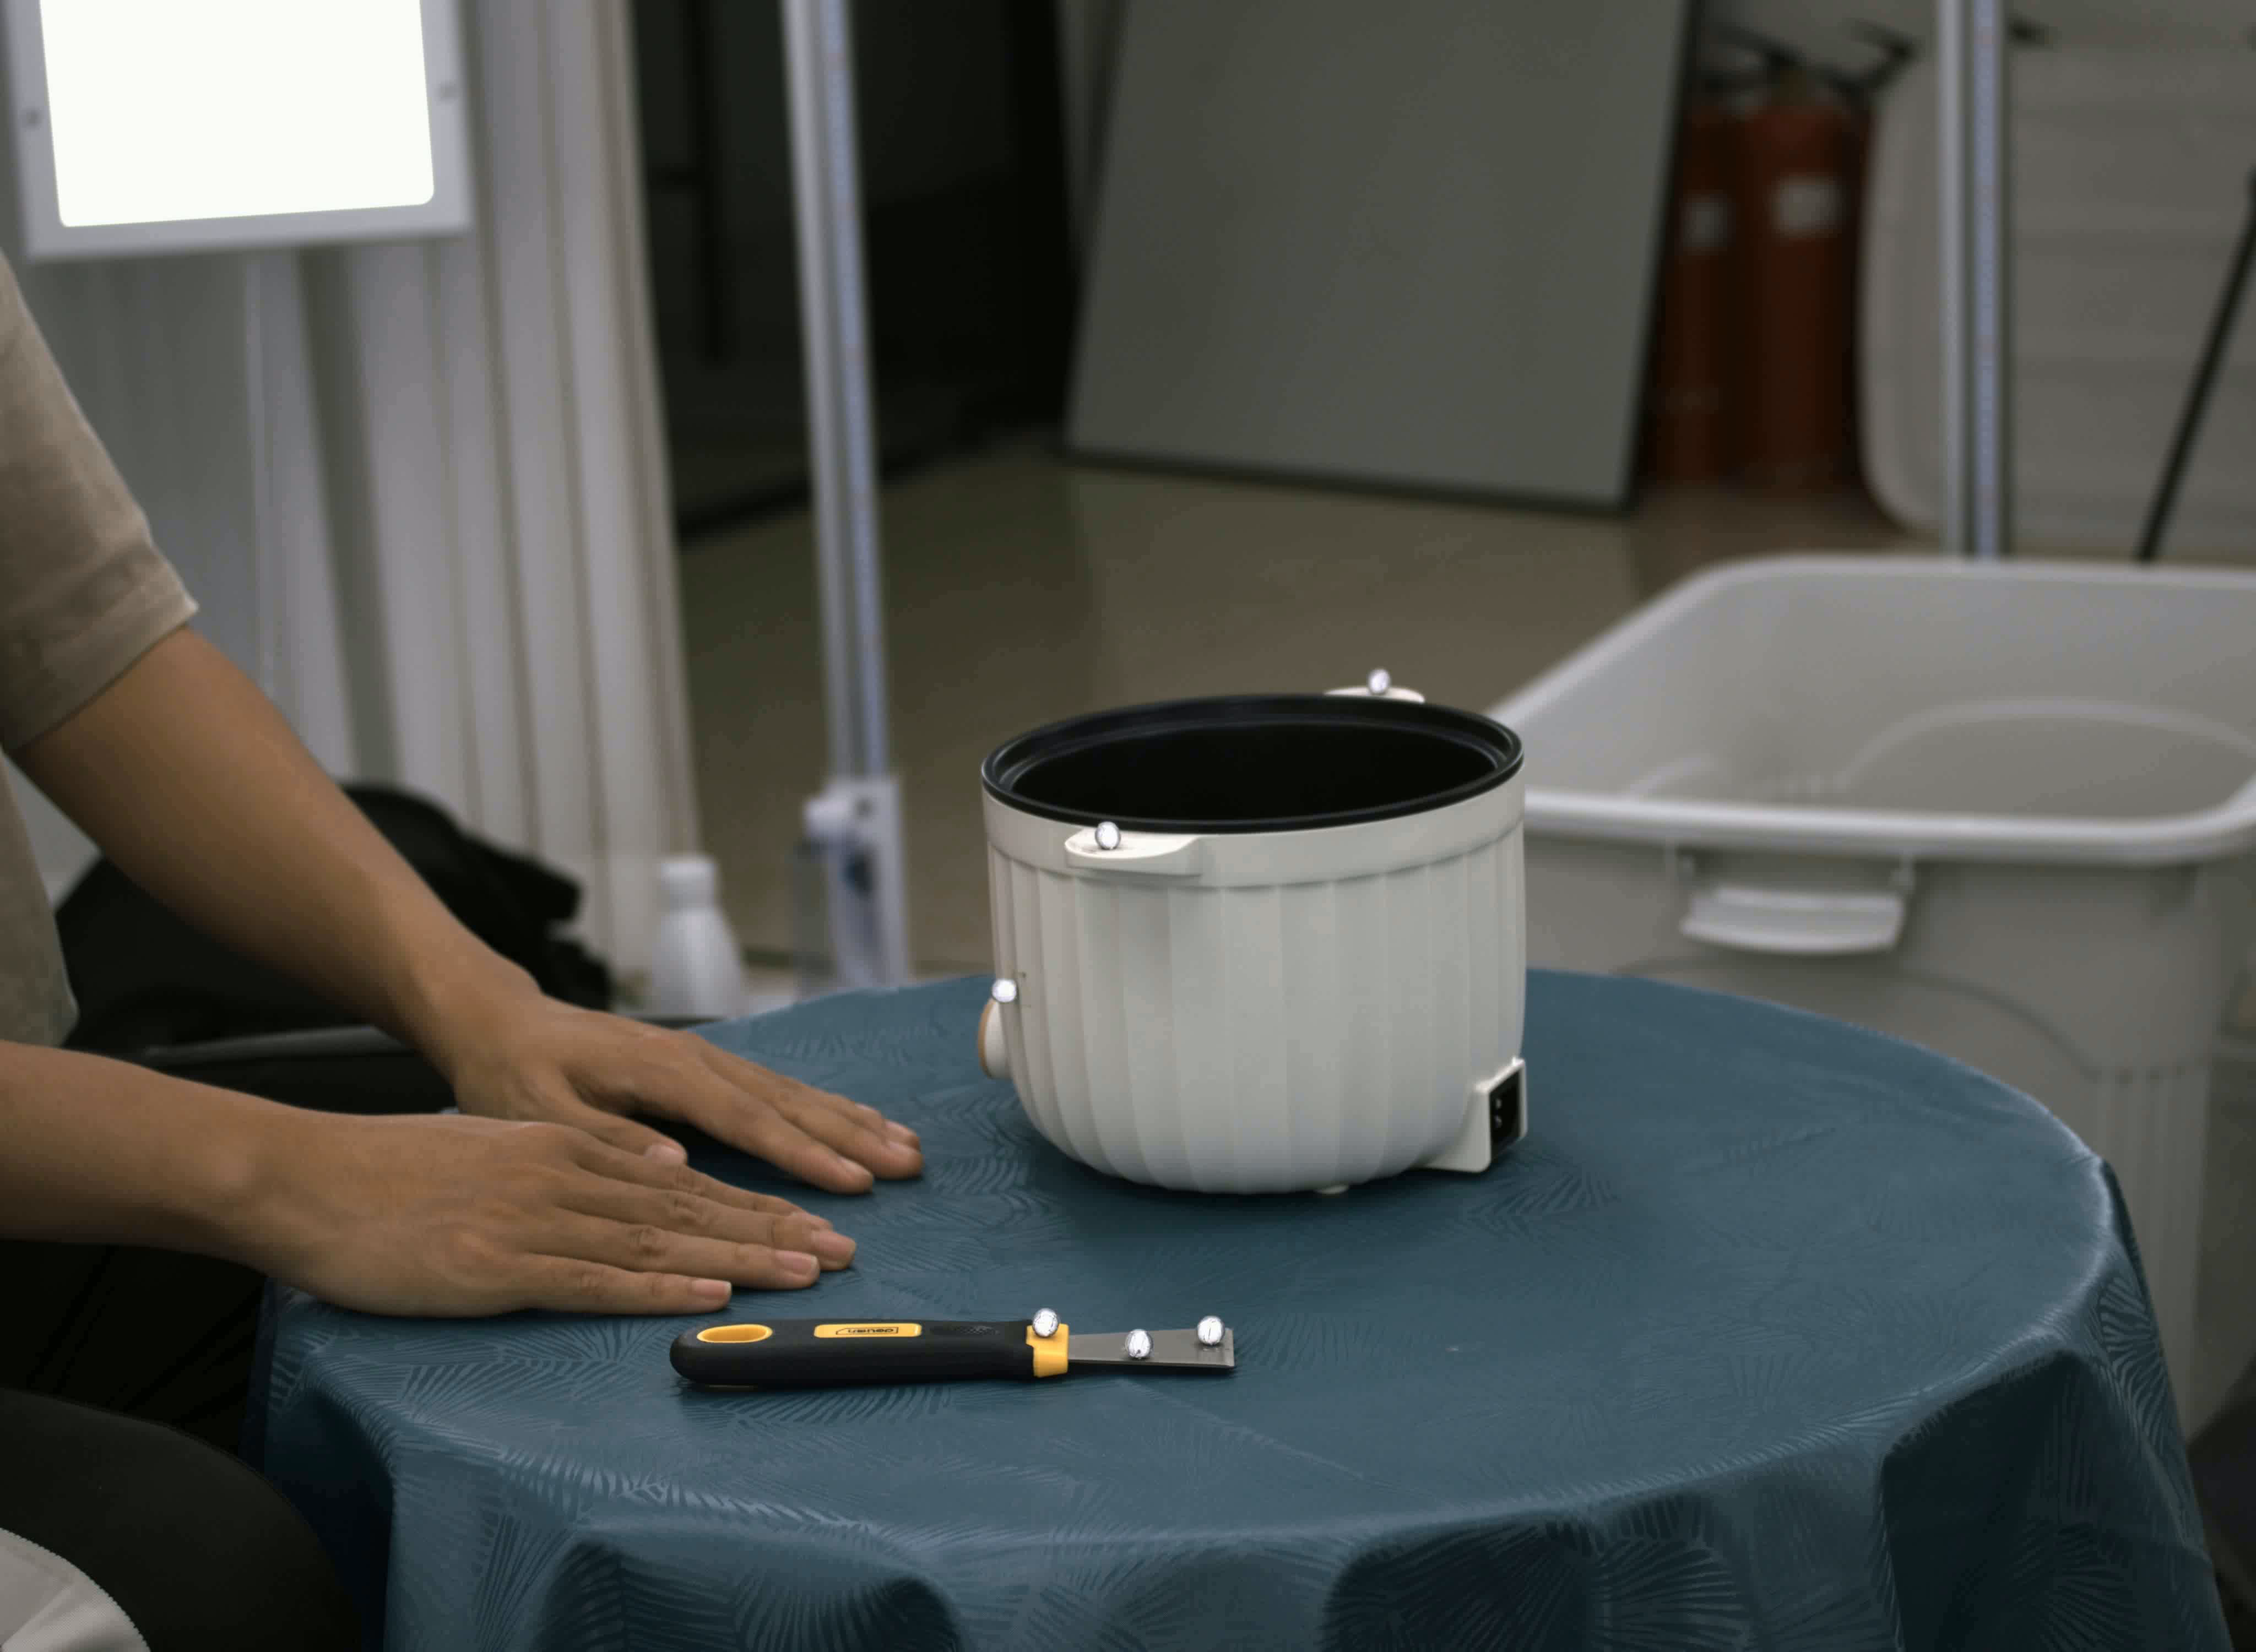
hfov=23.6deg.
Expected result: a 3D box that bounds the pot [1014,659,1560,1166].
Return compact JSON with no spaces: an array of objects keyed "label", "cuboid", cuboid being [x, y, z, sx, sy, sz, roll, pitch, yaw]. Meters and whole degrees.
[{"label":"pot","cuboid":[0.051,0.031,1.813,0.191,0.144,0.237,6,15,24]}]

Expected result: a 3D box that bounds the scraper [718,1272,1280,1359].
[{"label":"scraper","cuboid":[-0.038,0.146,1.620,0.169,0.015,0.039,-2,19,0]}]
